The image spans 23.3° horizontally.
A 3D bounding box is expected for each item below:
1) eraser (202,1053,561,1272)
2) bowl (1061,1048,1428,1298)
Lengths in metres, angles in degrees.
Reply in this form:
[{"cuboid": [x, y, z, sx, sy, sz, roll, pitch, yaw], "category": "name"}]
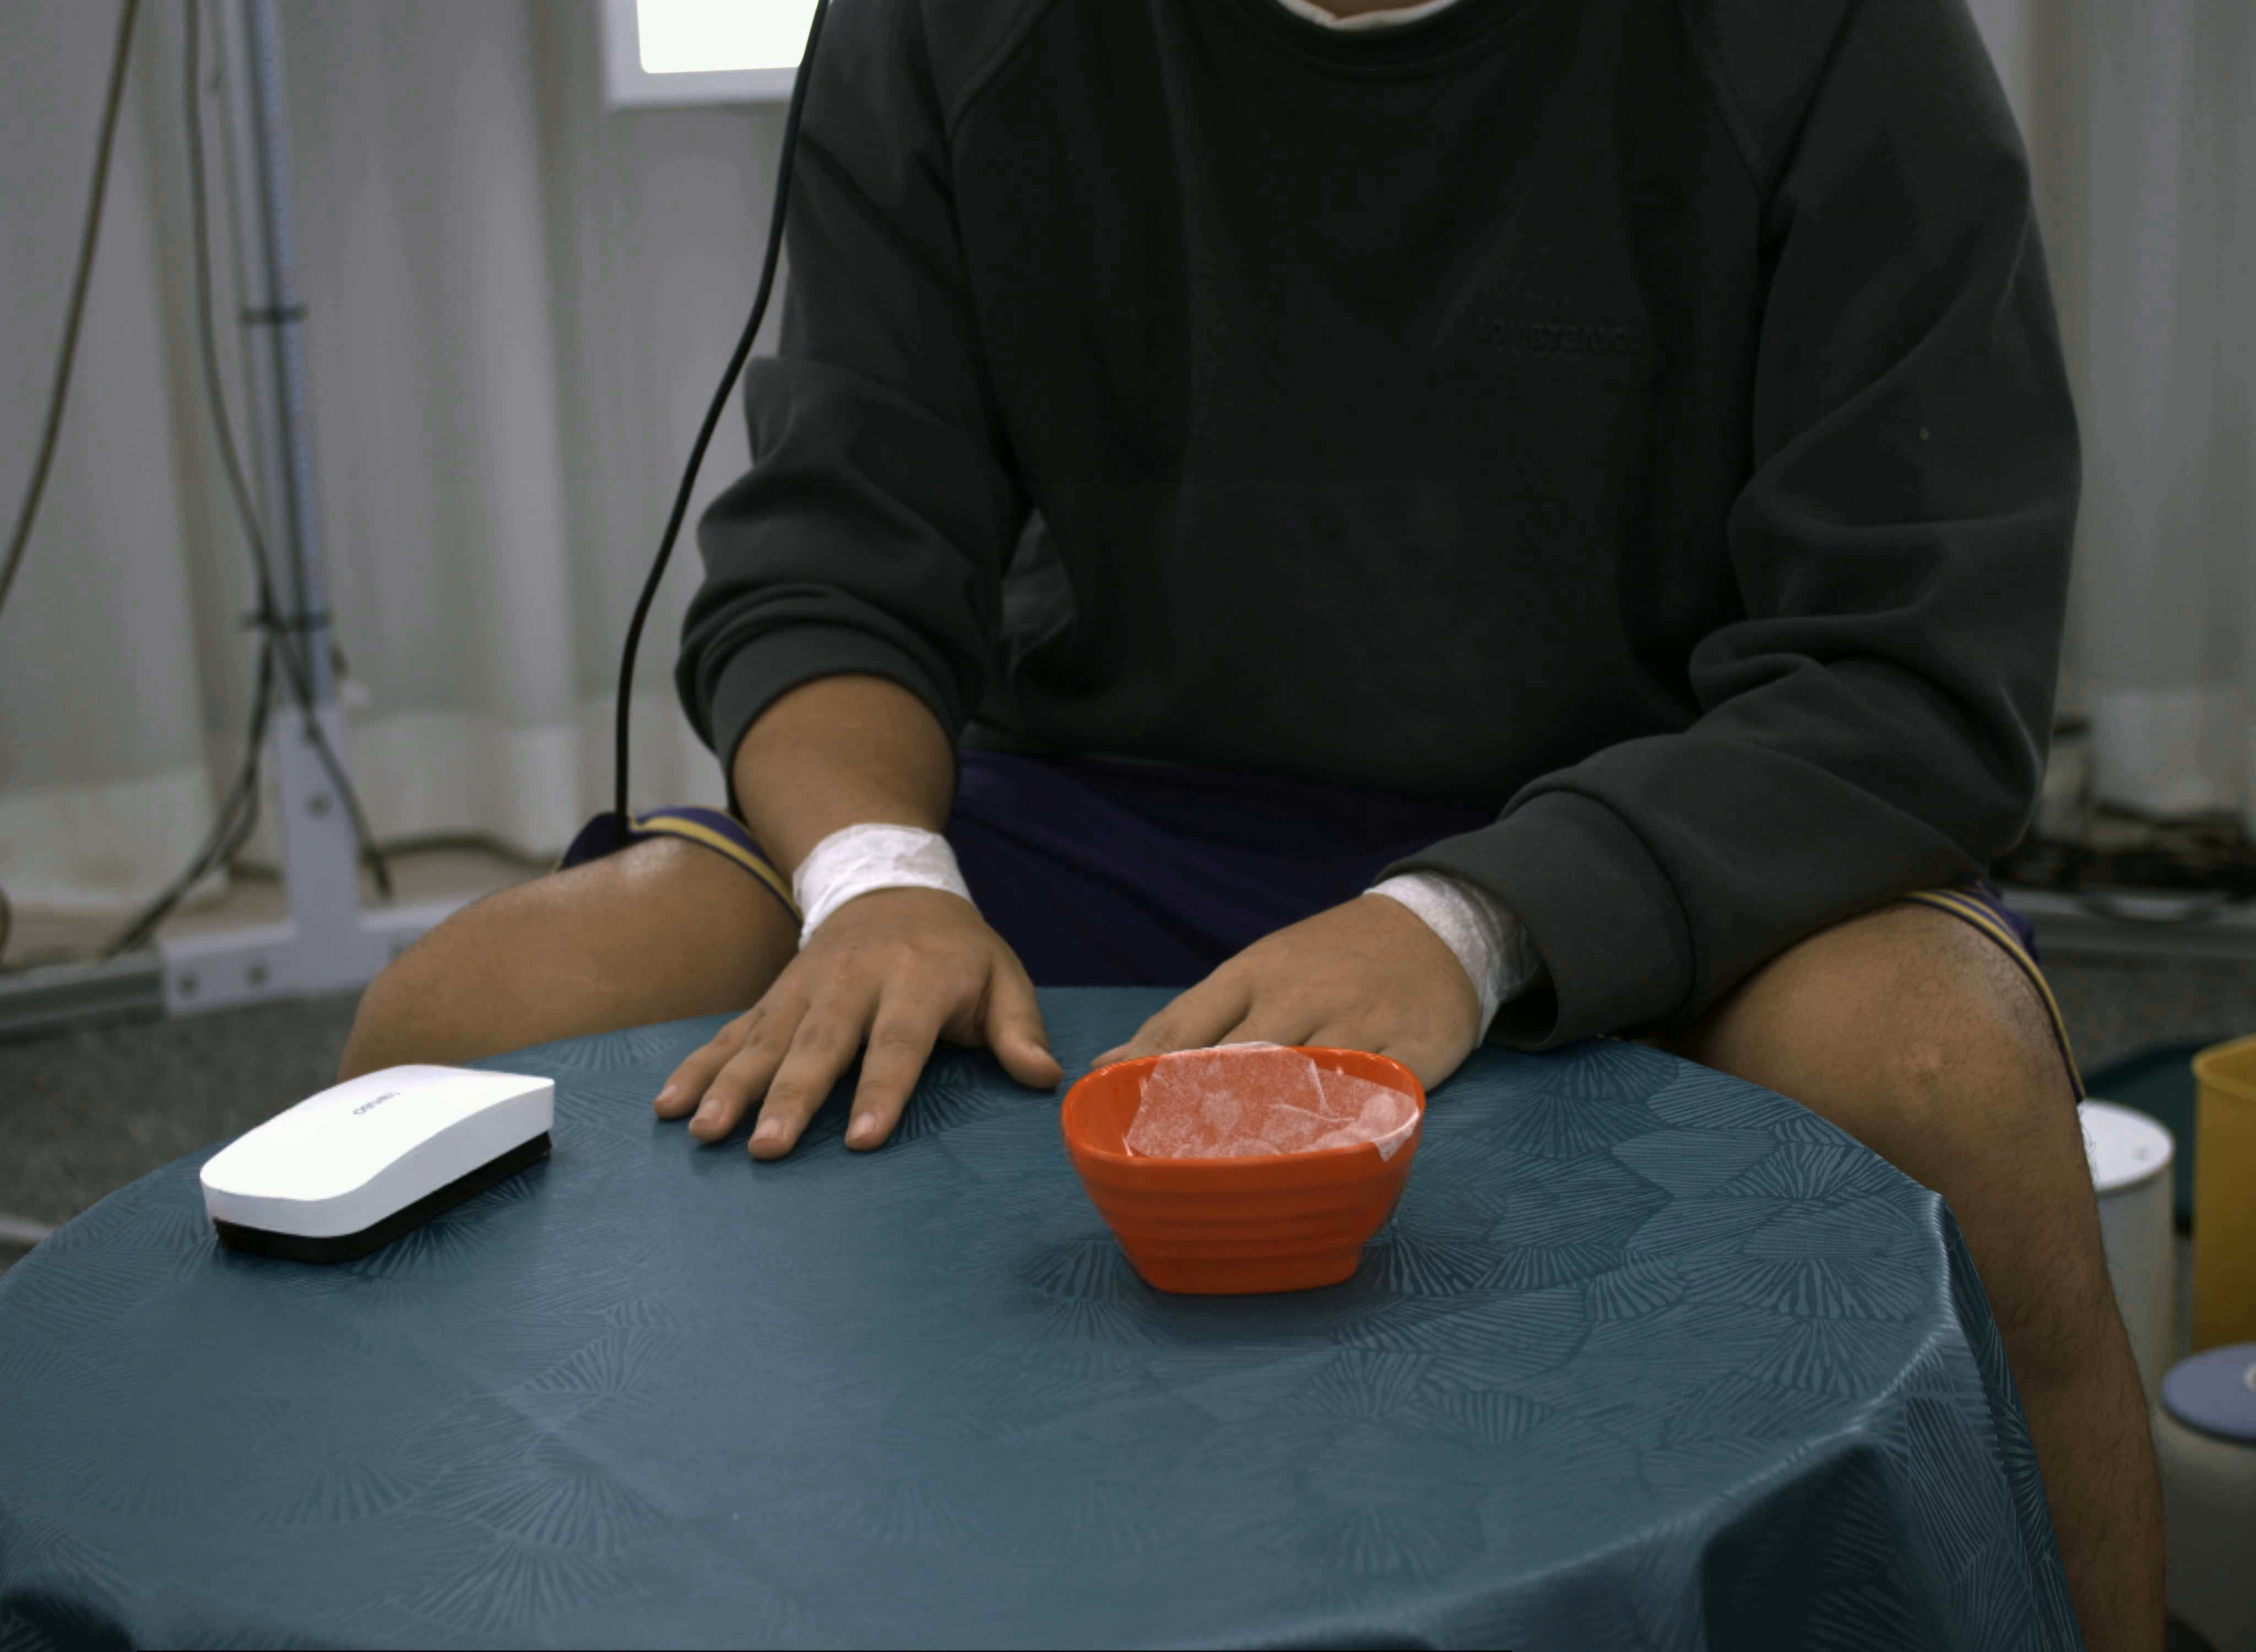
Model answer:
[{"cuboid": [-0.235, 0.103, 1.742, 0.063, 0.034, 0.131, 7, 20, 28], "category": "eraser"}, {"cuboid": [0.036, 0.106, 1.643, 0.118, 0.051, 0.119, -4, 14, 1], "category": "bowl"}]
